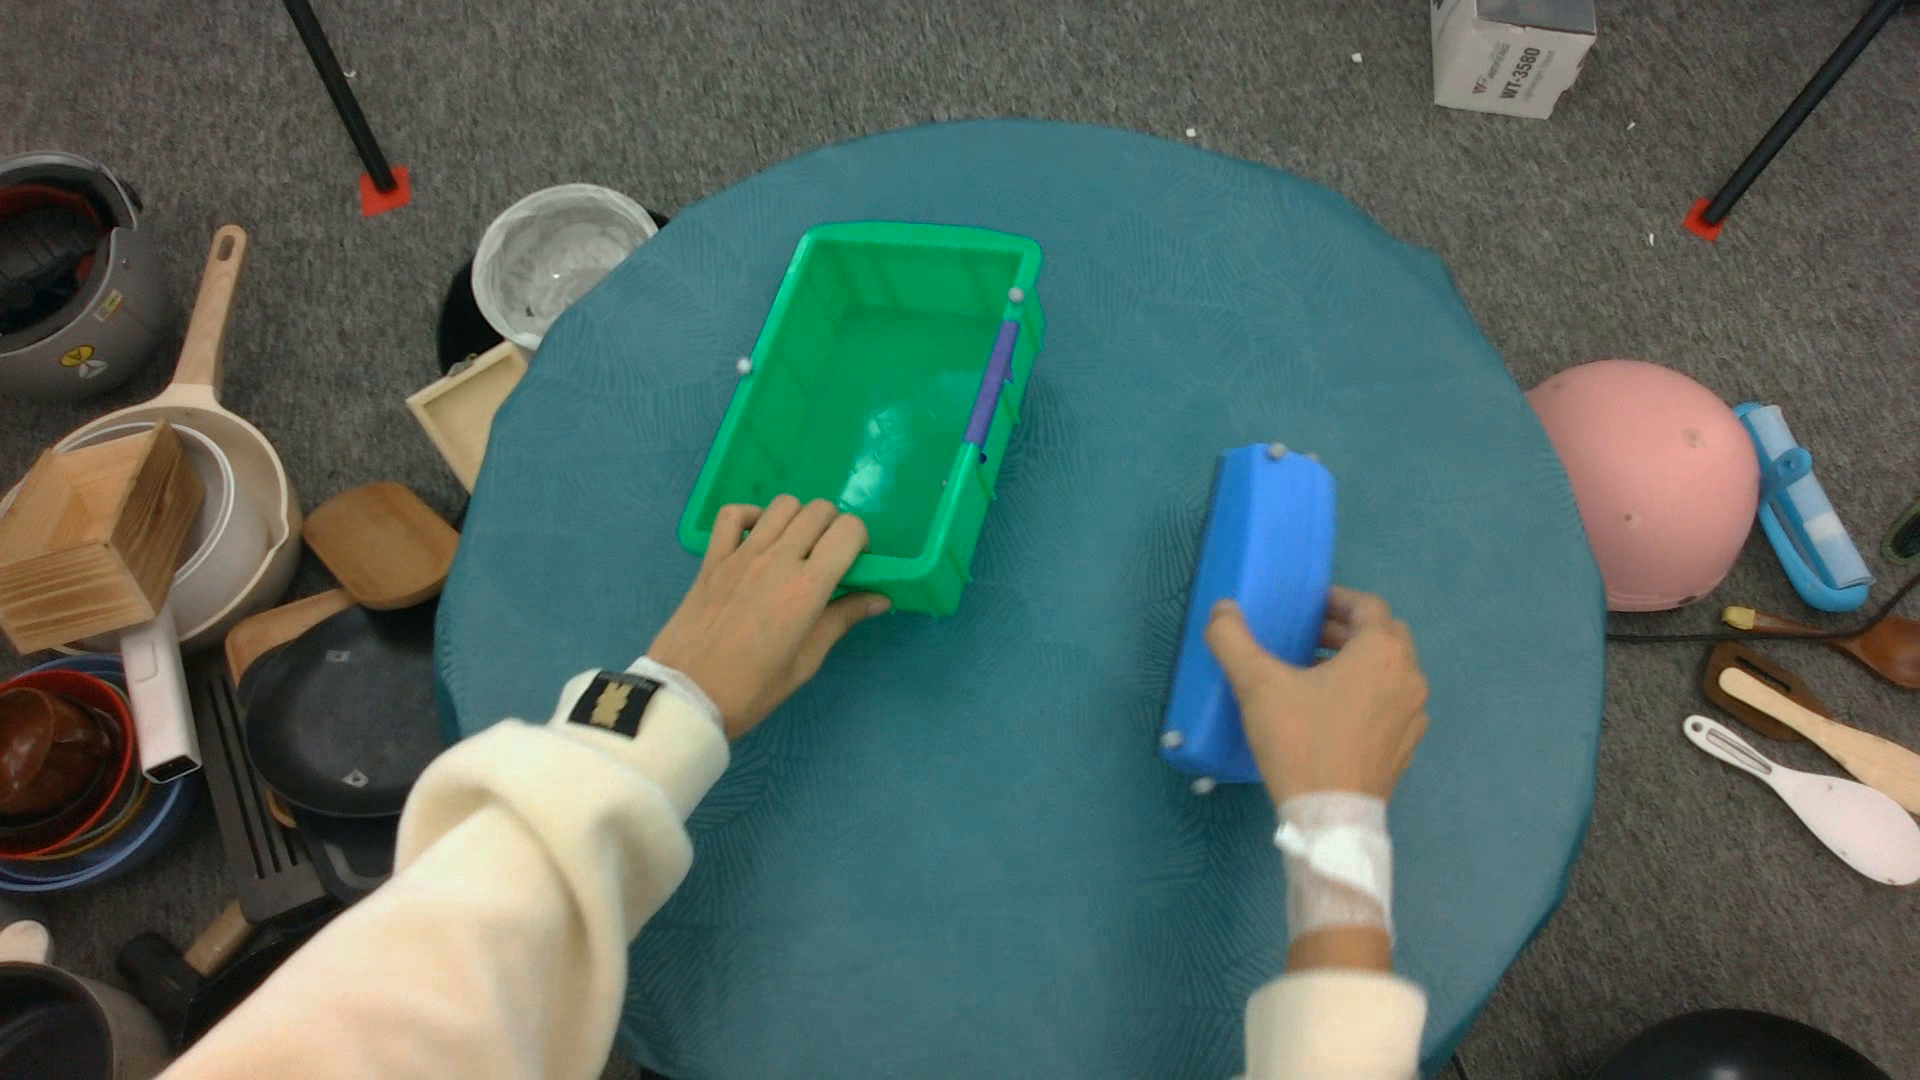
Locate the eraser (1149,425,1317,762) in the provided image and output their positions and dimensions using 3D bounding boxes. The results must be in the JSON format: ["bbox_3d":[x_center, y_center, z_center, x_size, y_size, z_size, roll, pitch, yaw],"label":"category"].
[{"bbox_3d":[0.135,0.024,0.660,0.054,0.047,0.162,20,73,-25],"label":"eraser"}]

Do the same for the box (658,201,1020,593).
[{"bbox_3d":[-0.052,-0.072,0.700,0.138,0.065,0.211,6,62,18],"label":"box"}]
